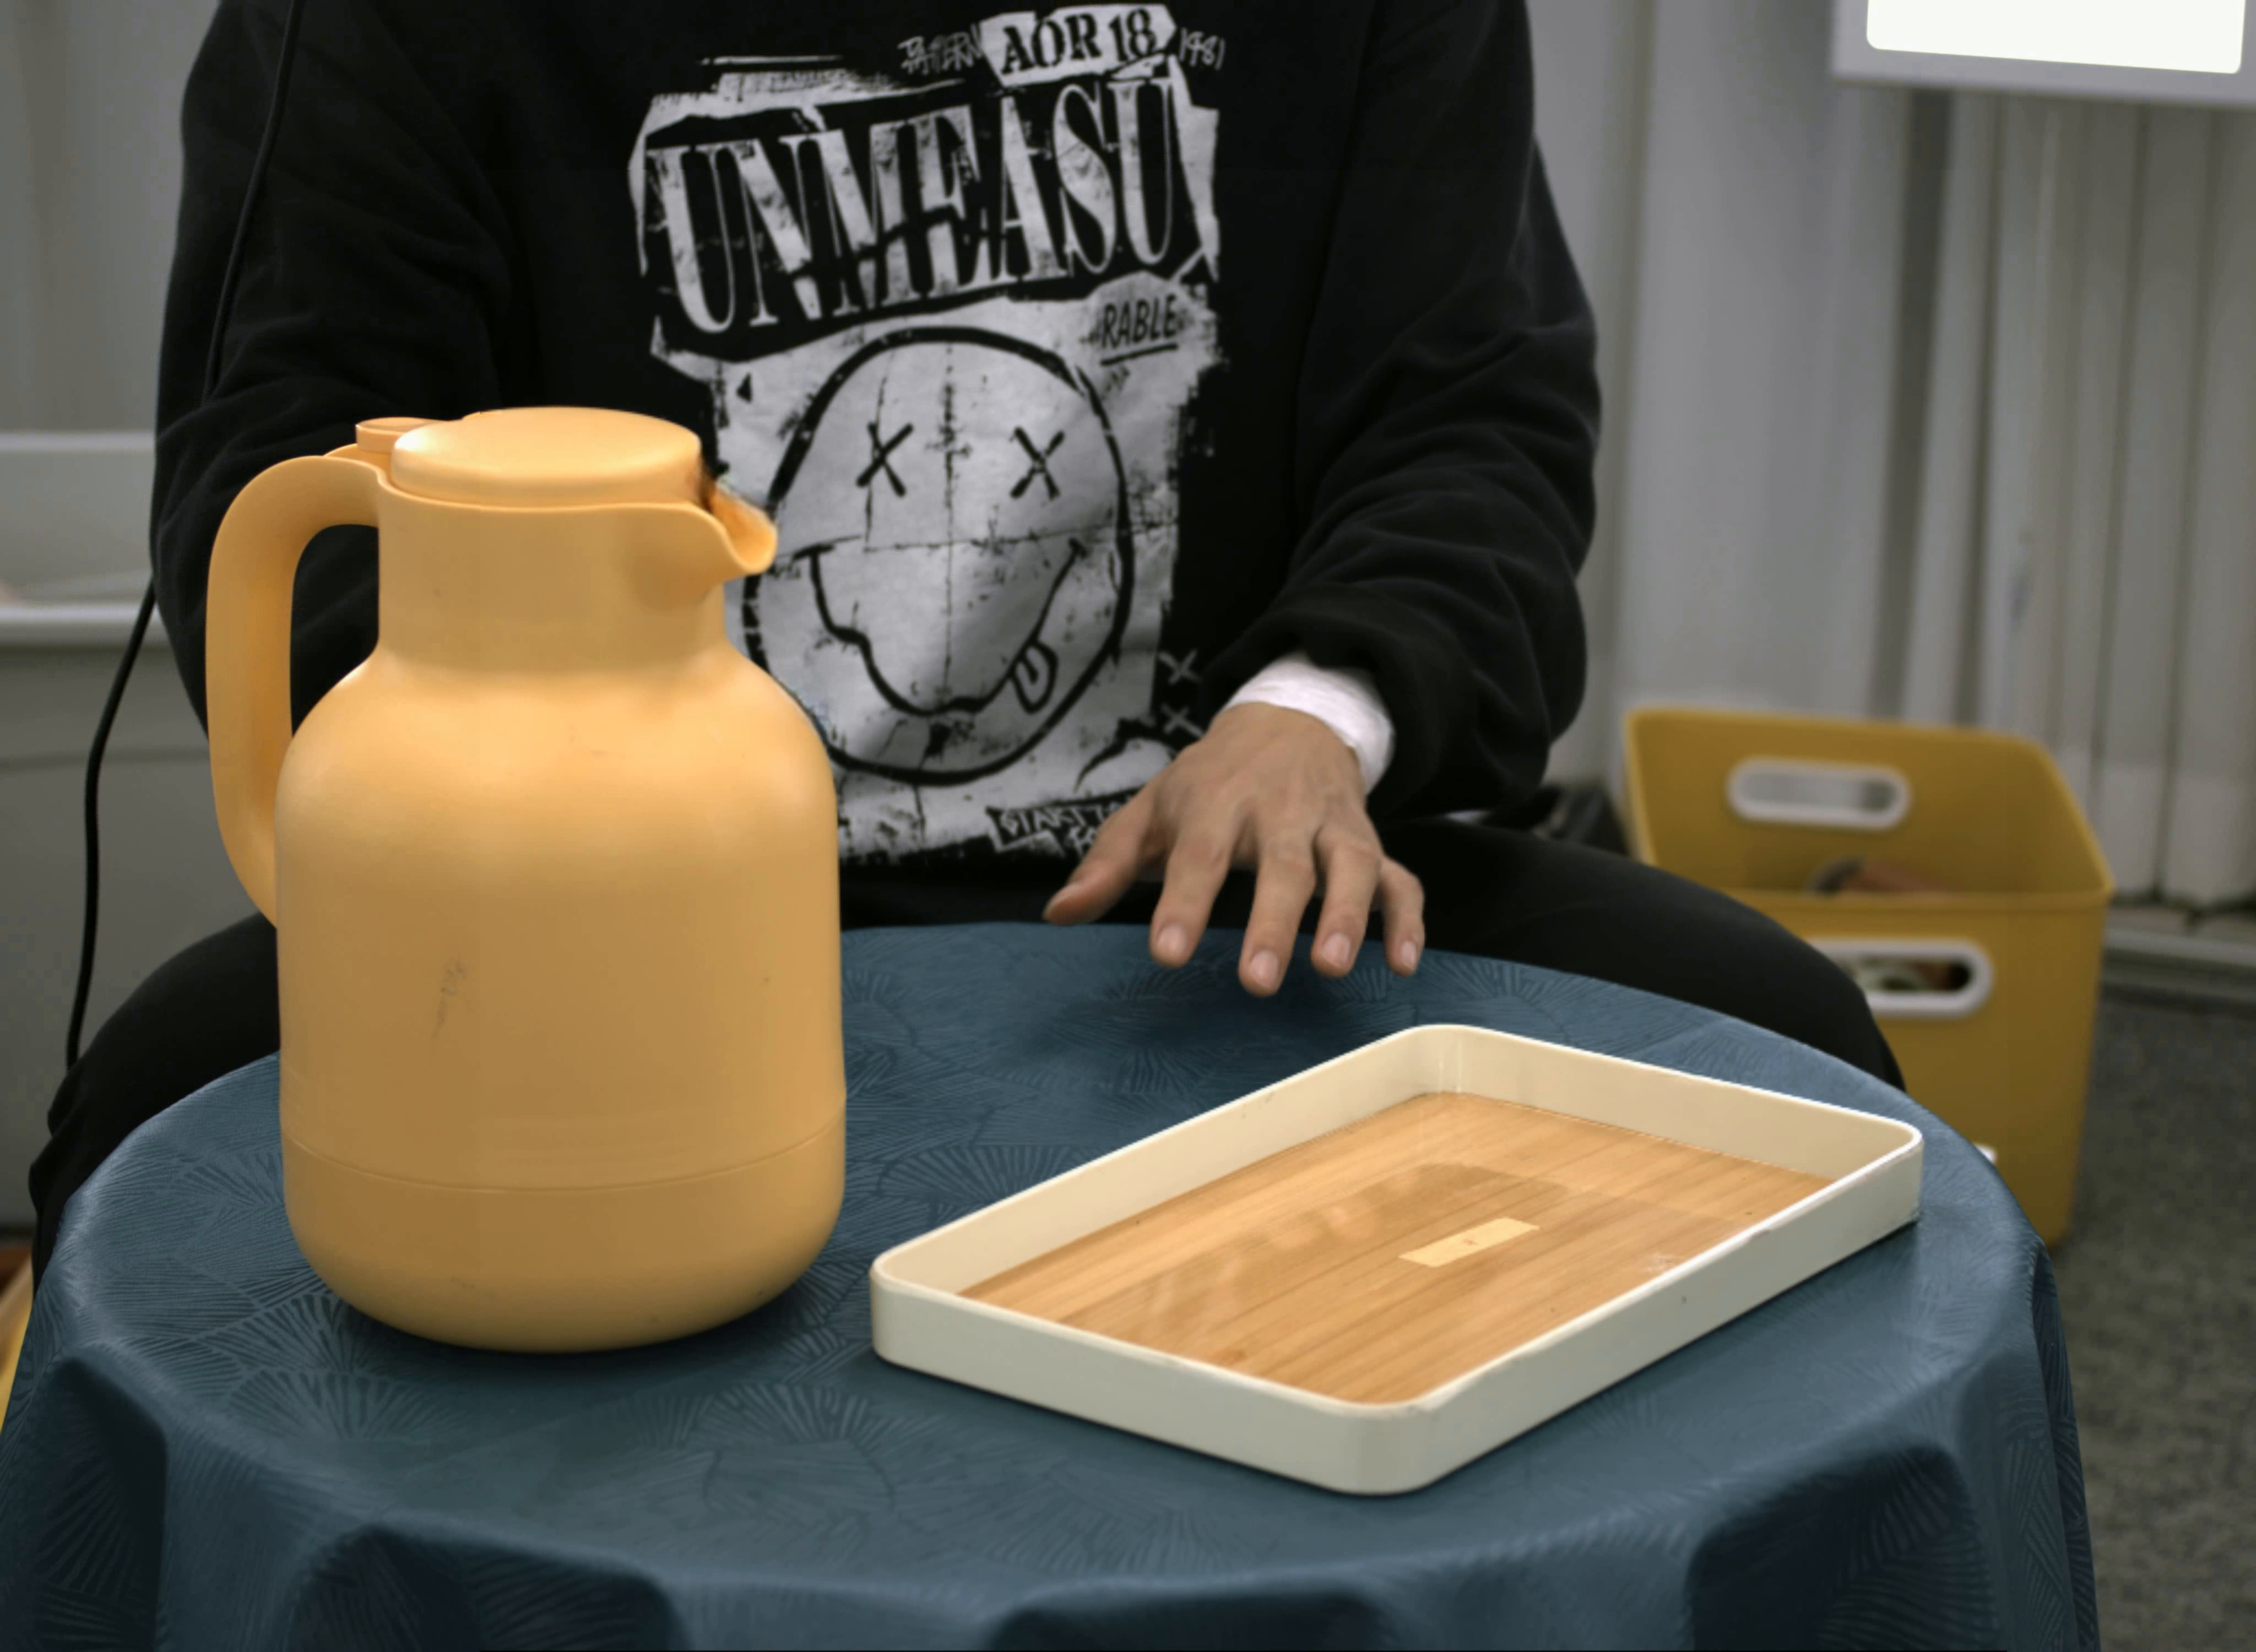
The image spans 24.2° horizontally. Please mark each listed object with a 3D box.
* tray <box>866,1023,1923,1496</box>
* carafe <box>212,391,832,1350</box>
[{"bbox_3d":[0.084,0.121,1.545,0.189,0.027,0.301,12,19,35],"label":"tray"},{"bbox_3d":[-0.180,0.005,1.510,0.200,0.262,0.164,14,18,33],"label":"carafe"}]
